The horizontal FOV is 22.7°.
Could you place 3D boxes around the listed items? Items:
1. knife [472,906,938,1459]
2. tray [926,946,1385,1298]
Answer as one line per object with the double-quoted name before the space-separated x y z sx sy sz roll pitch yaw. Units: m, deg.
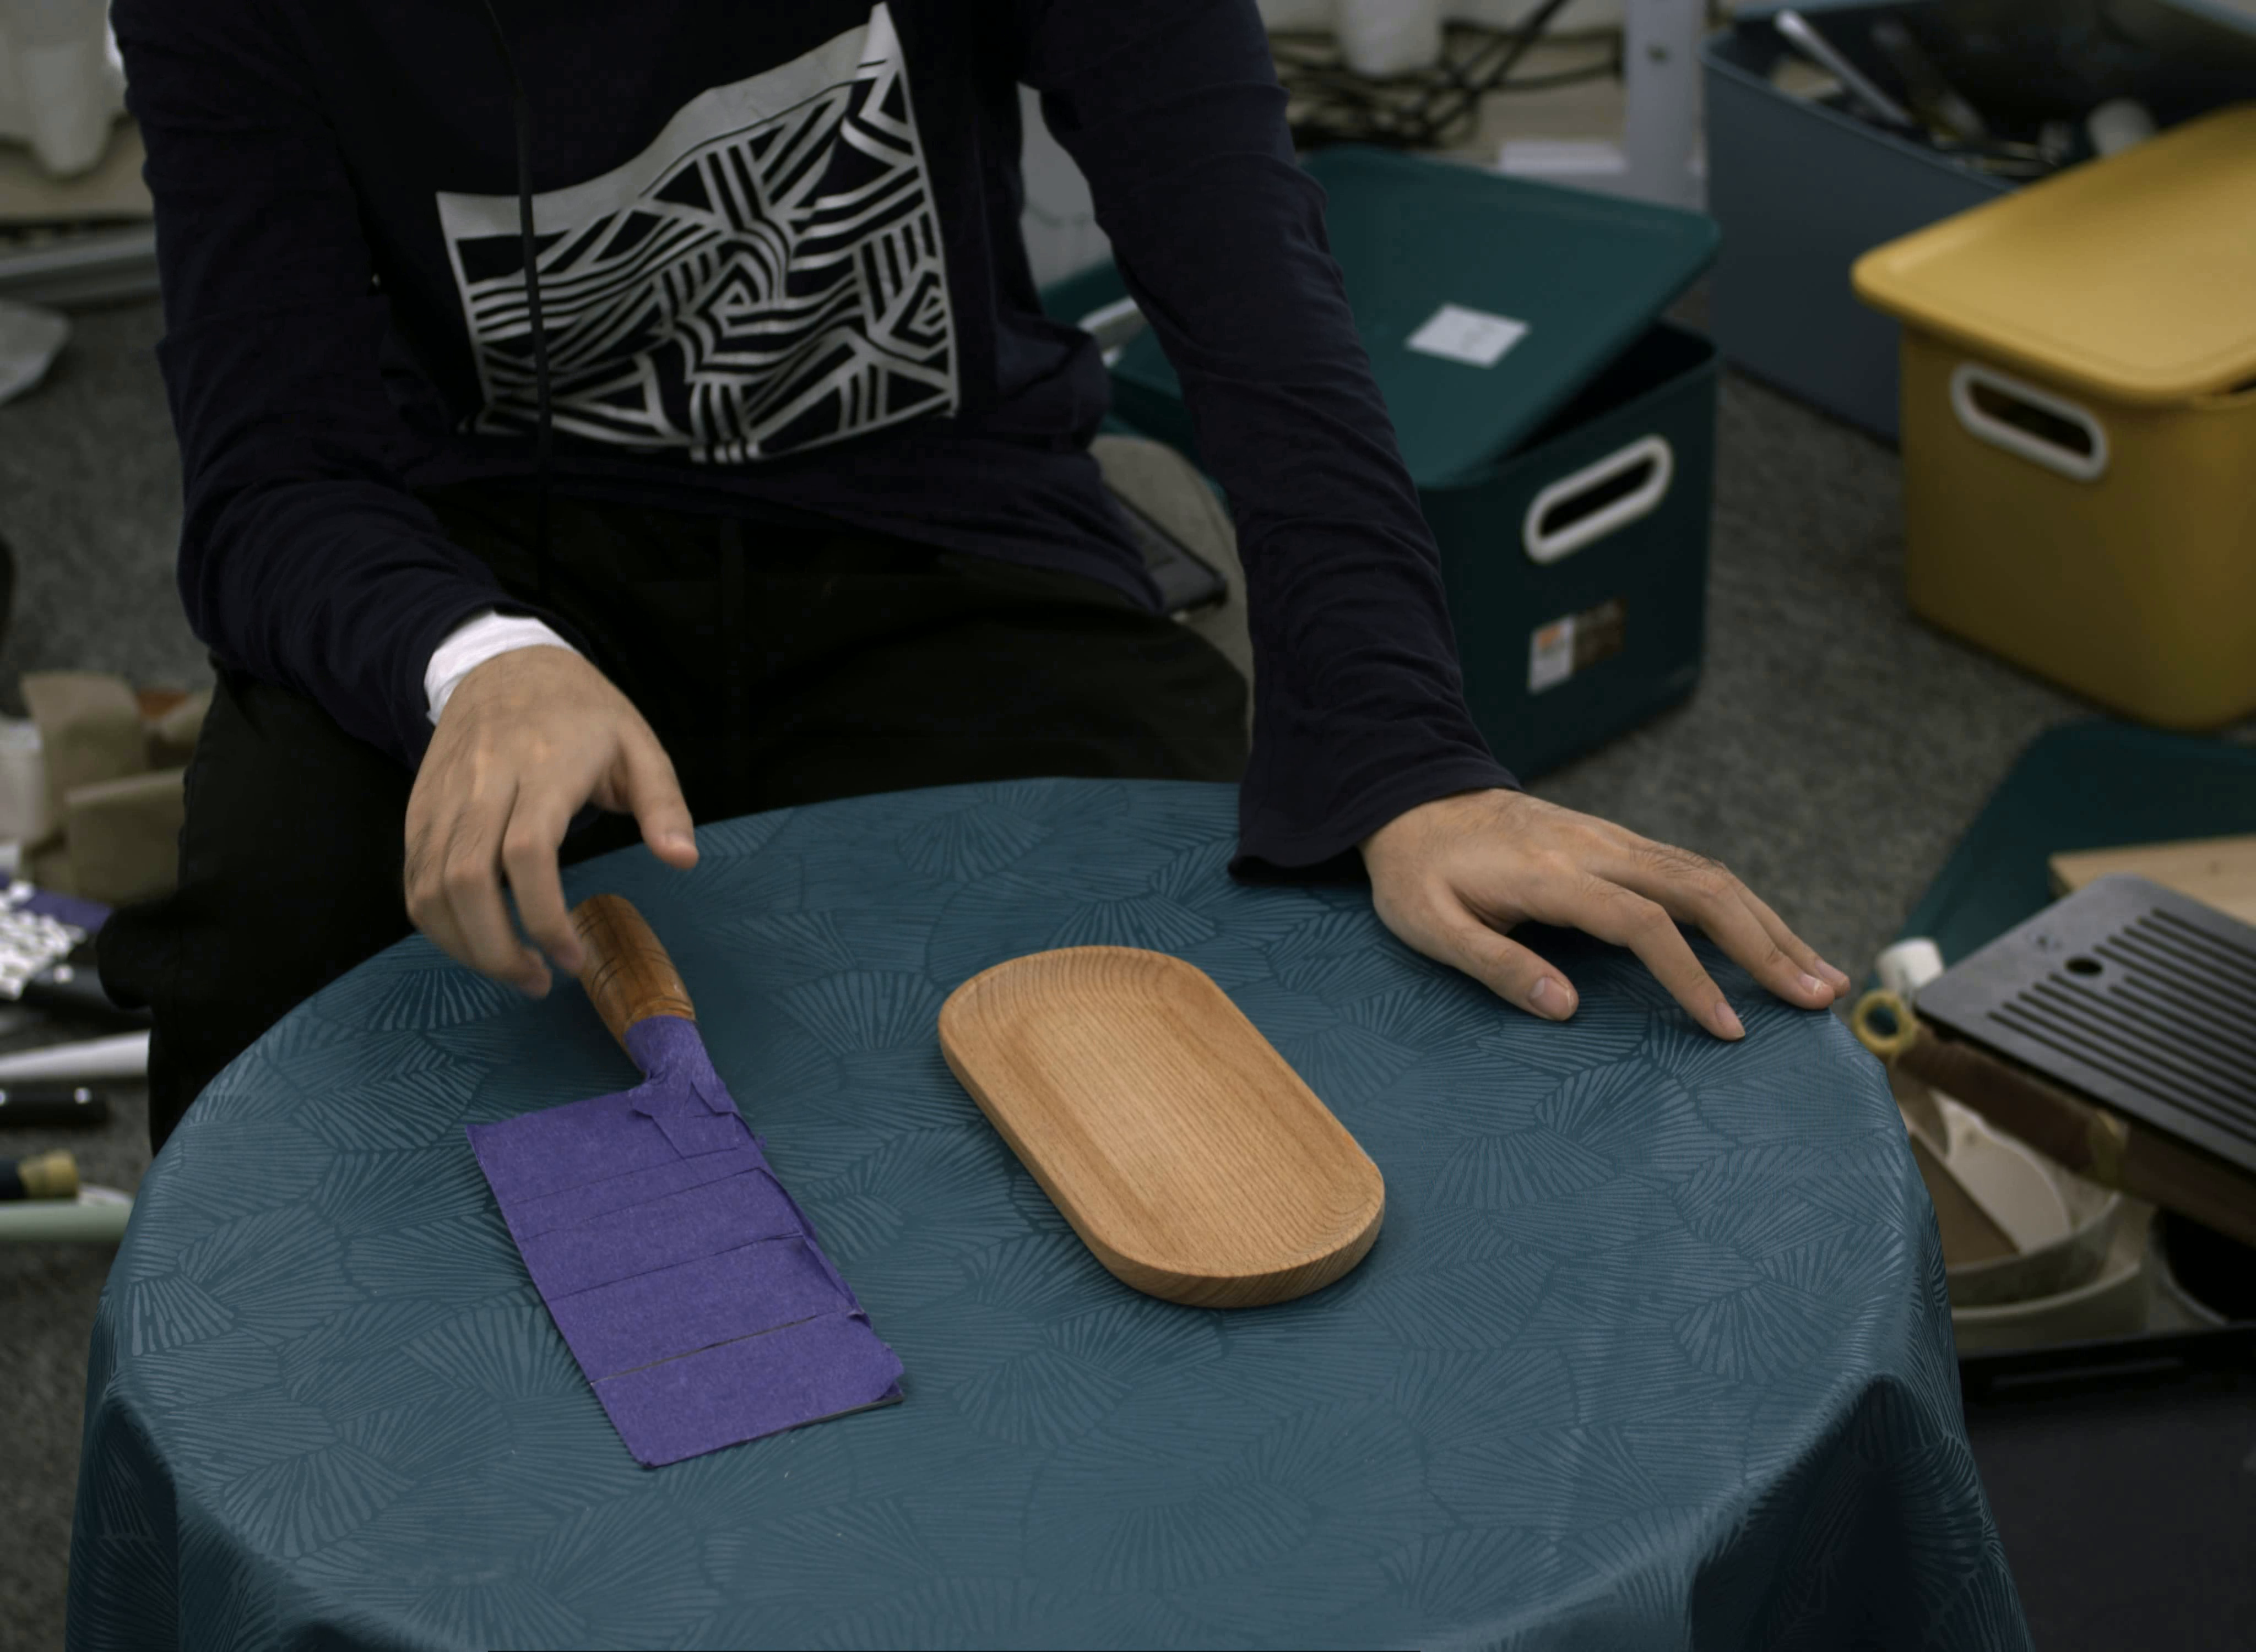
"knife" -0.163 0.114 1.863 0.104 0.032 0.318 -12 29 -18
"tray" 0.007 0.097 1.890 0.102 0.020 0.232 -12 27 -20
